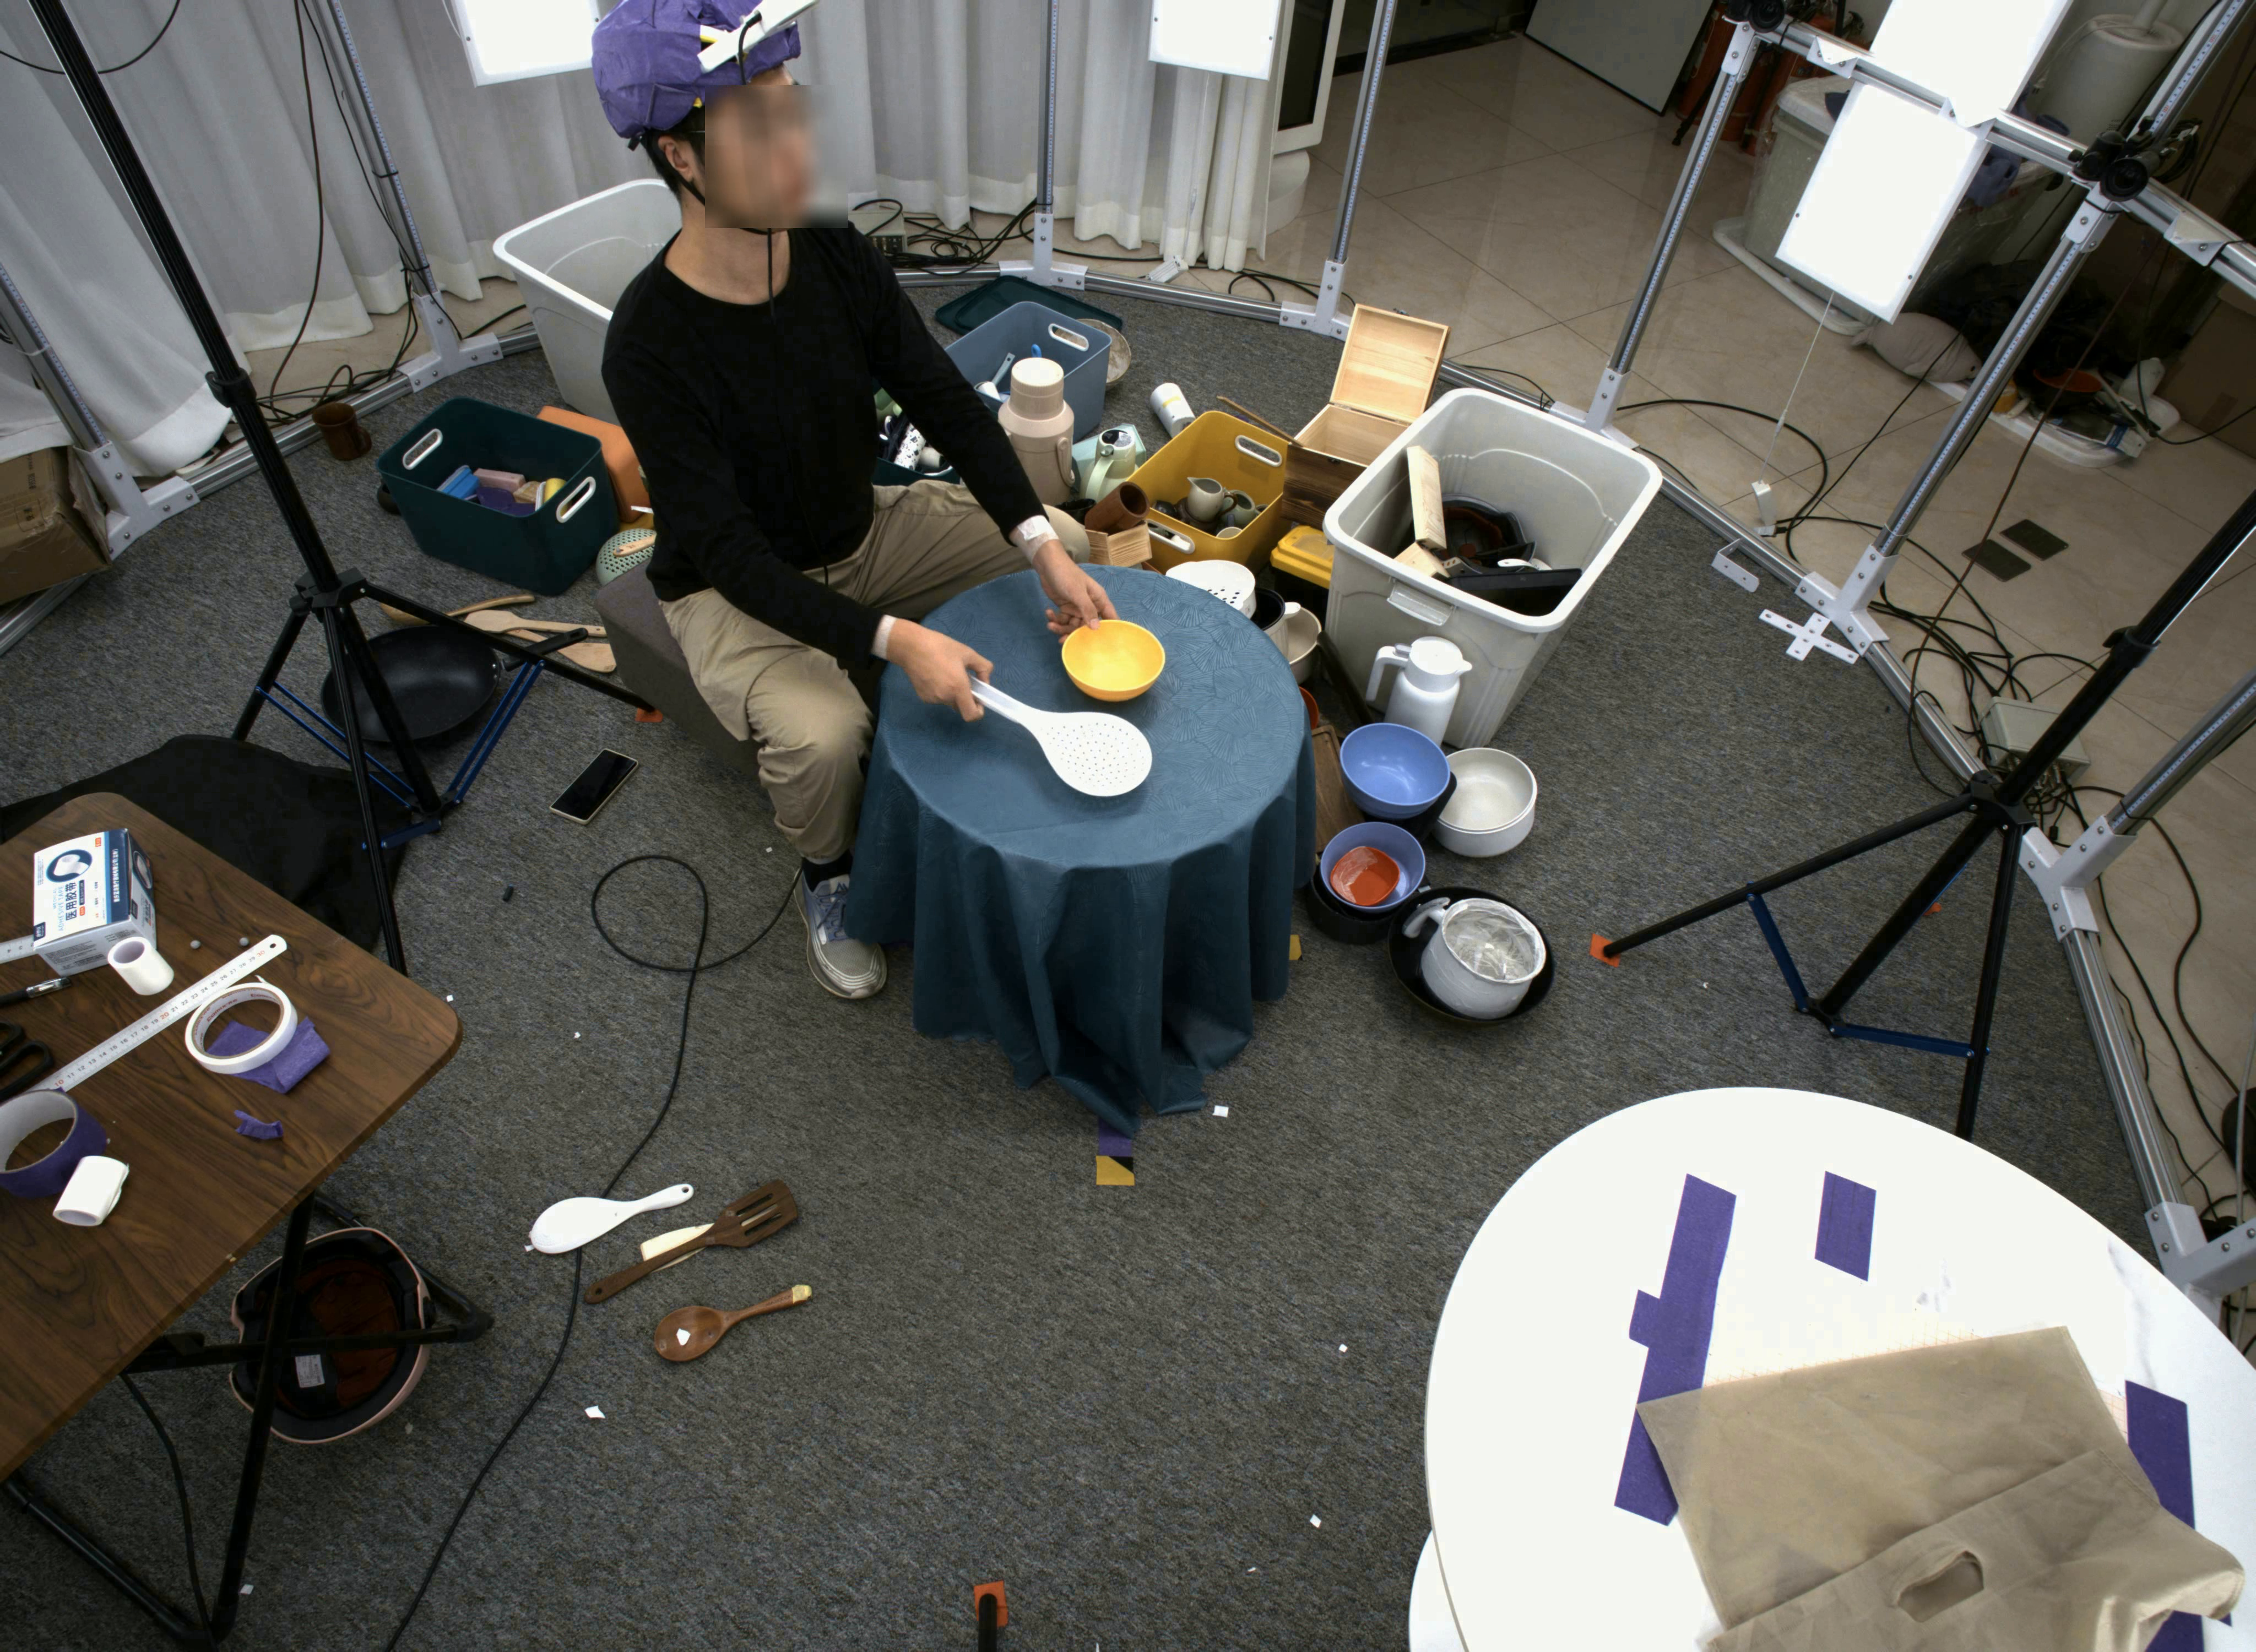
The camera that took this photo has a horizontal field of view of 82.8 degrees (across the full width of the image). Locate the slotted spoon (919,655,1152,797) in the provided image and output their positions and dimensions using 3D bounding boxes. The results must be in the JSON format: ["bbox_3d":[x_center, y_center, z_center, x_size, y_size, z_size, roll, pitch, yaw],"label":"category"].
[{"bbox_3d":[-0.130,-0.142,1.726,0.351,0.045,0.138,31,56,8],"label":"slotted spoon"}]

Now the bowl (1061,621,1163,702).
[{"bbox_3d":[-0.024,-0.222,1.824,0.145,0.058,0.149,3,48,-4],"label":"bowl"}]
